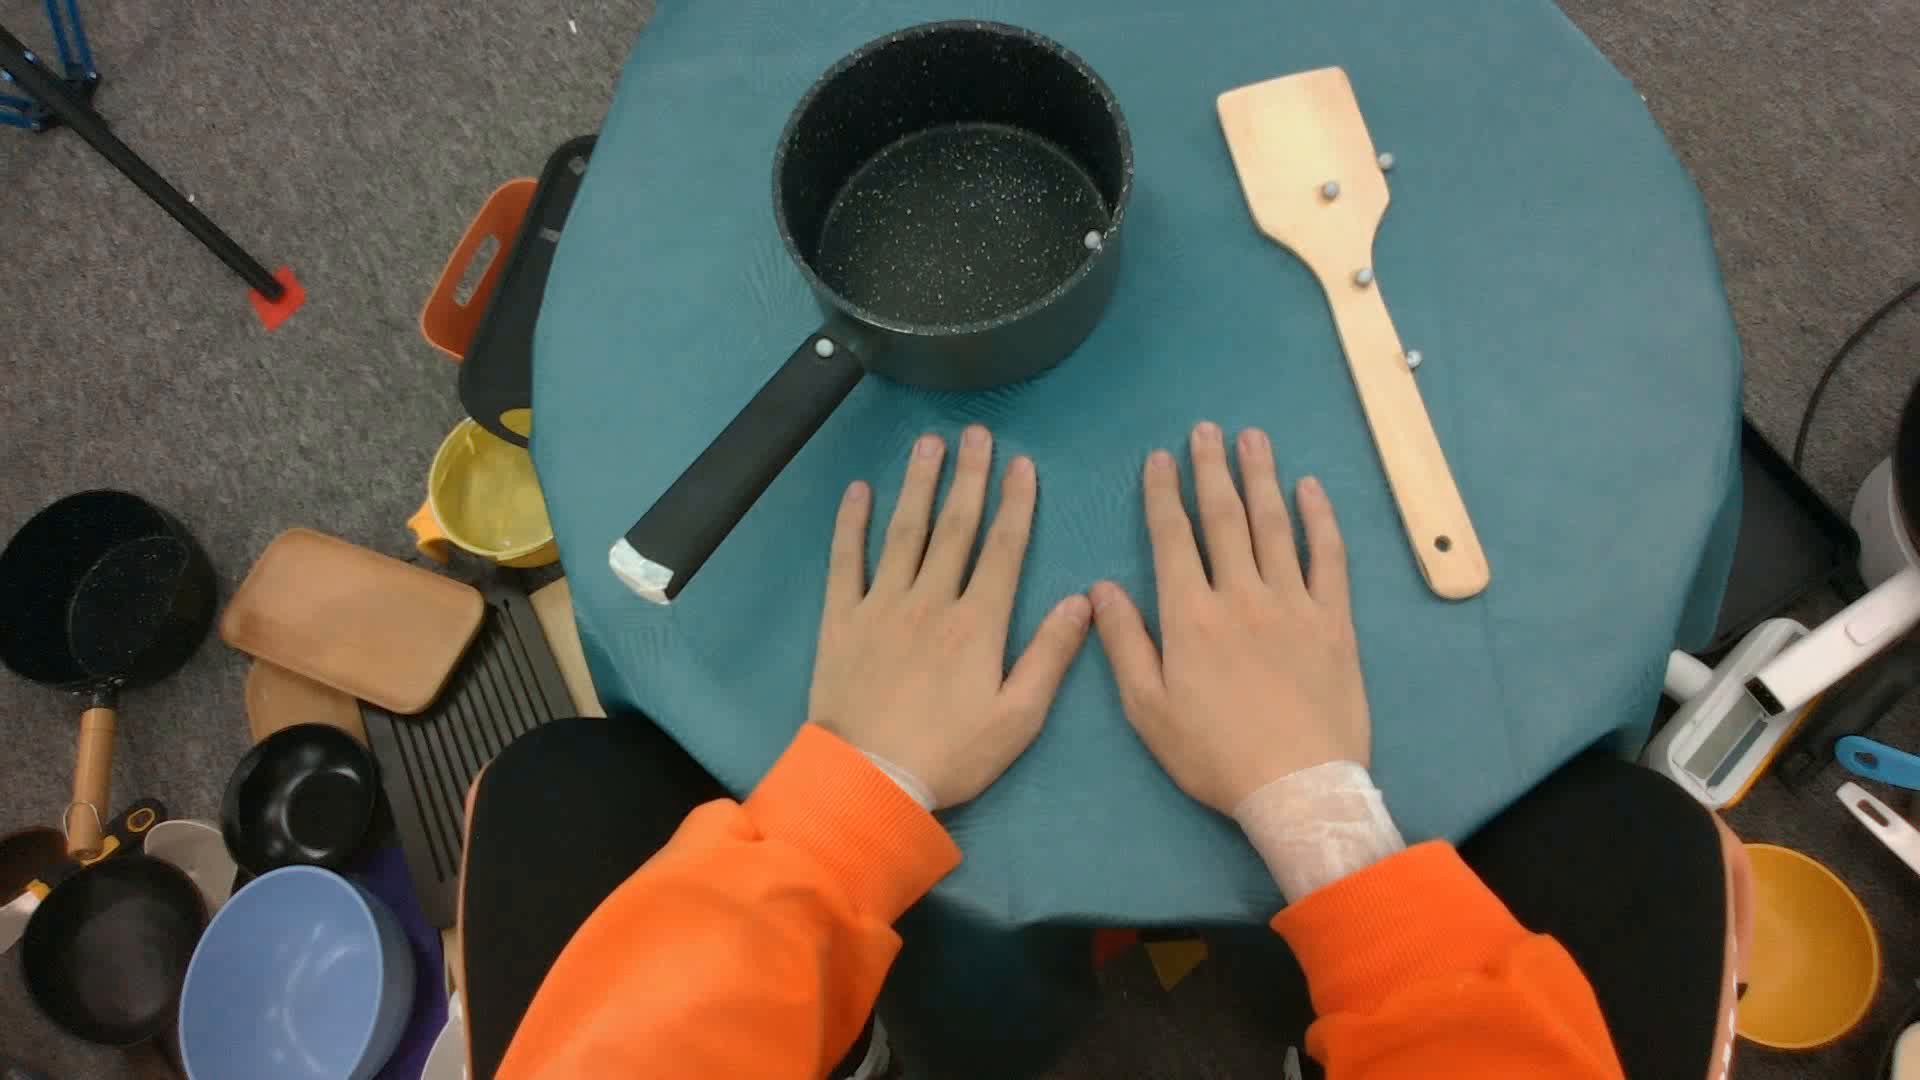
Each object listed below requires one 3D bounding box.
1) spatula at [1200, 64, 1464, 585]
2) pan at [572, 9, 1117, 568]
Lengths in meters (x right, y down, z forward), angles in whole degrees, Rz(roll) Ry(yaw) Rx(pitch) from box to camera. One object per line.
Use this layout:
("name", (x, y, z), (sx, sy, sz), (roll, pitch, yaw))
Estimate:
("spatula", (0.191, -0.114, 0.683), (0.072, 0.010, 0.294), (-12, 69, -3))
("pan", (-0.056, -0.109, 0.663), (0.172, 0.086, 0.329), (33, 75, 16))
